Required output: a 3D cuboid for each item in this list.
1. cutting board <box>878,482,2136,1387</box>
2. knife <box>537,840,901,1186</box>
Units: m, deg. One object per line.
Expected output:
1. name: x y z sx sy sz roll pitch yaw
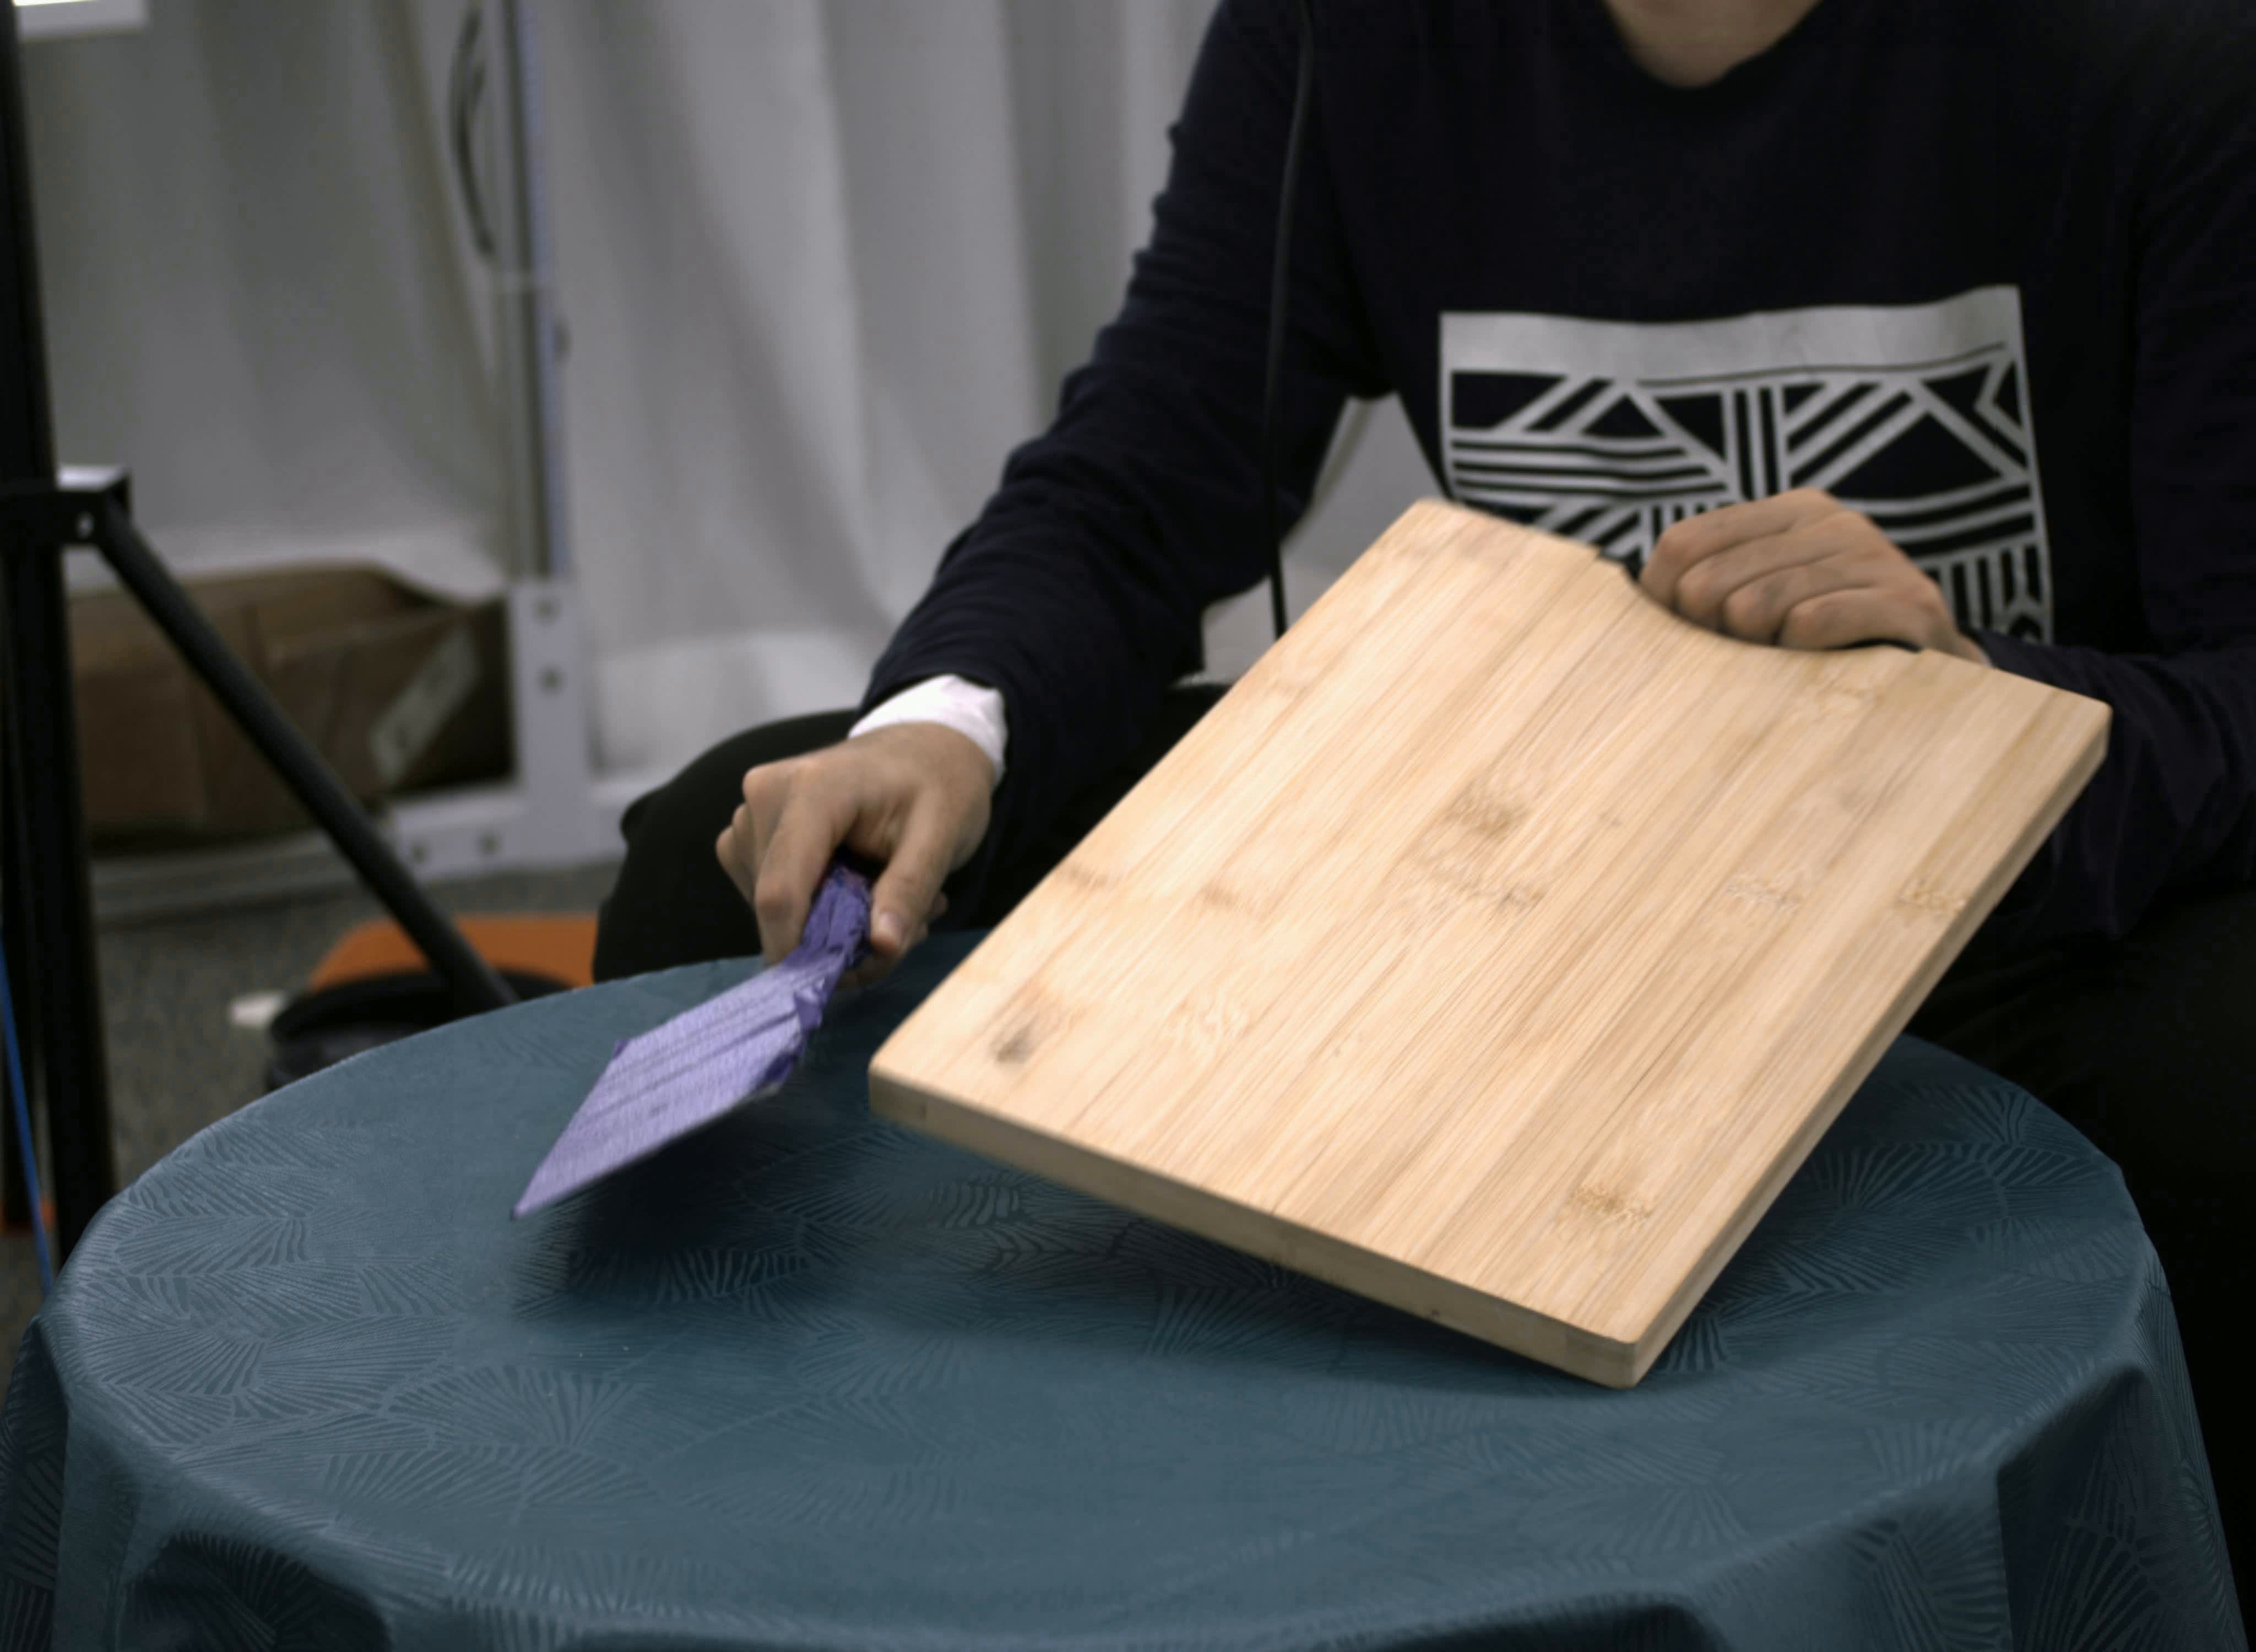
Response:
1. cutting board: 0.118 0.019 1.559 0.255 0.023 0.344 19 40 24
2. knife: -0.125 0.054 1.631 0.104 0.032 0.314 -25 6 7
